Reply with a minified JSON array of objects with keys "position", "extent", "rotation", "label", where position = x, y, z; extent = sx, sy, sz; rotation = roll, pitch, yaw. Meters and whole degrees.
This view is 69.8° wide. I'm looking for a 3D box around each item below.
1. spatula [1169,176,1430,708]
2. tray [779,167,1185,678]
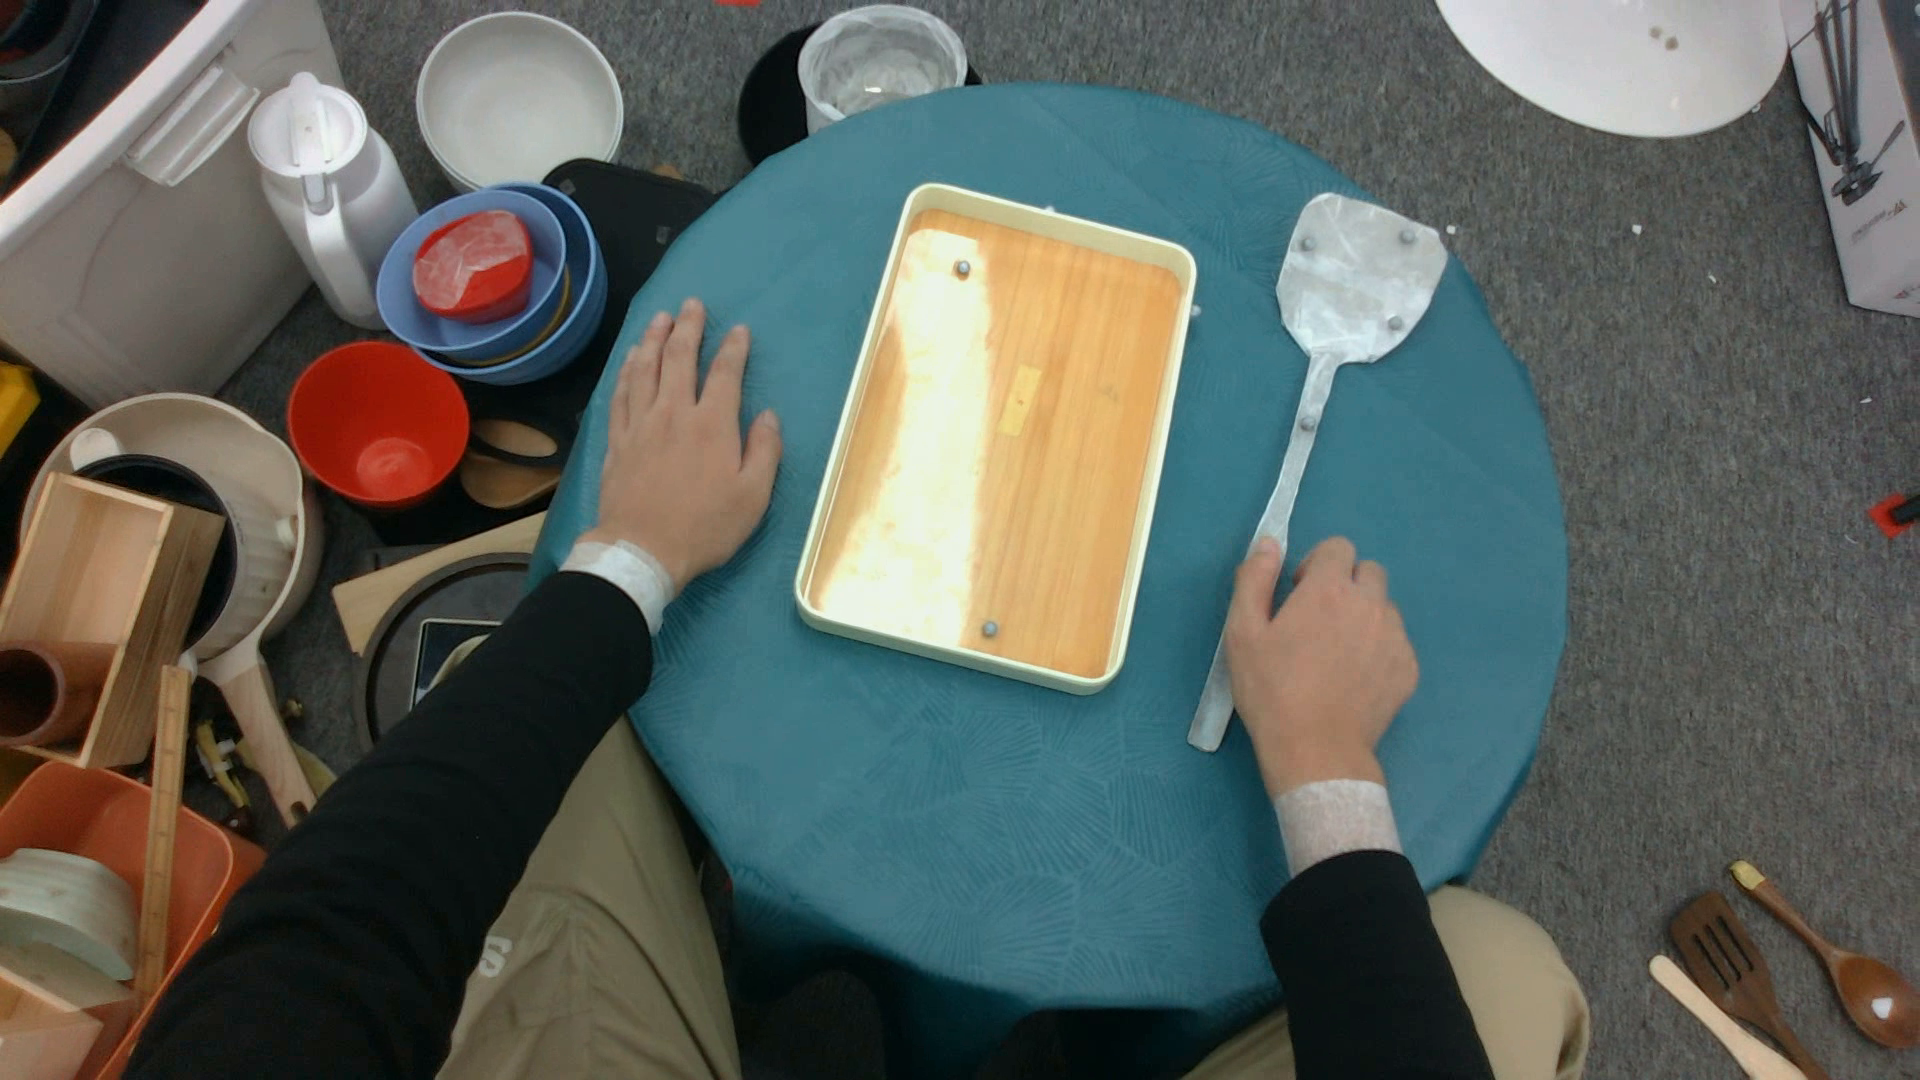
[{"position":[0.196,-0.063,0.834],"extent":[0.099,0.044,0.366],"rotation":[22,67,1],"label":"spatula"},{"position":[0.020,-0.078,0.824],"extent":[0.191,0.027,0.301],"rotation":[14,67,-1],"label":"tray"}]
